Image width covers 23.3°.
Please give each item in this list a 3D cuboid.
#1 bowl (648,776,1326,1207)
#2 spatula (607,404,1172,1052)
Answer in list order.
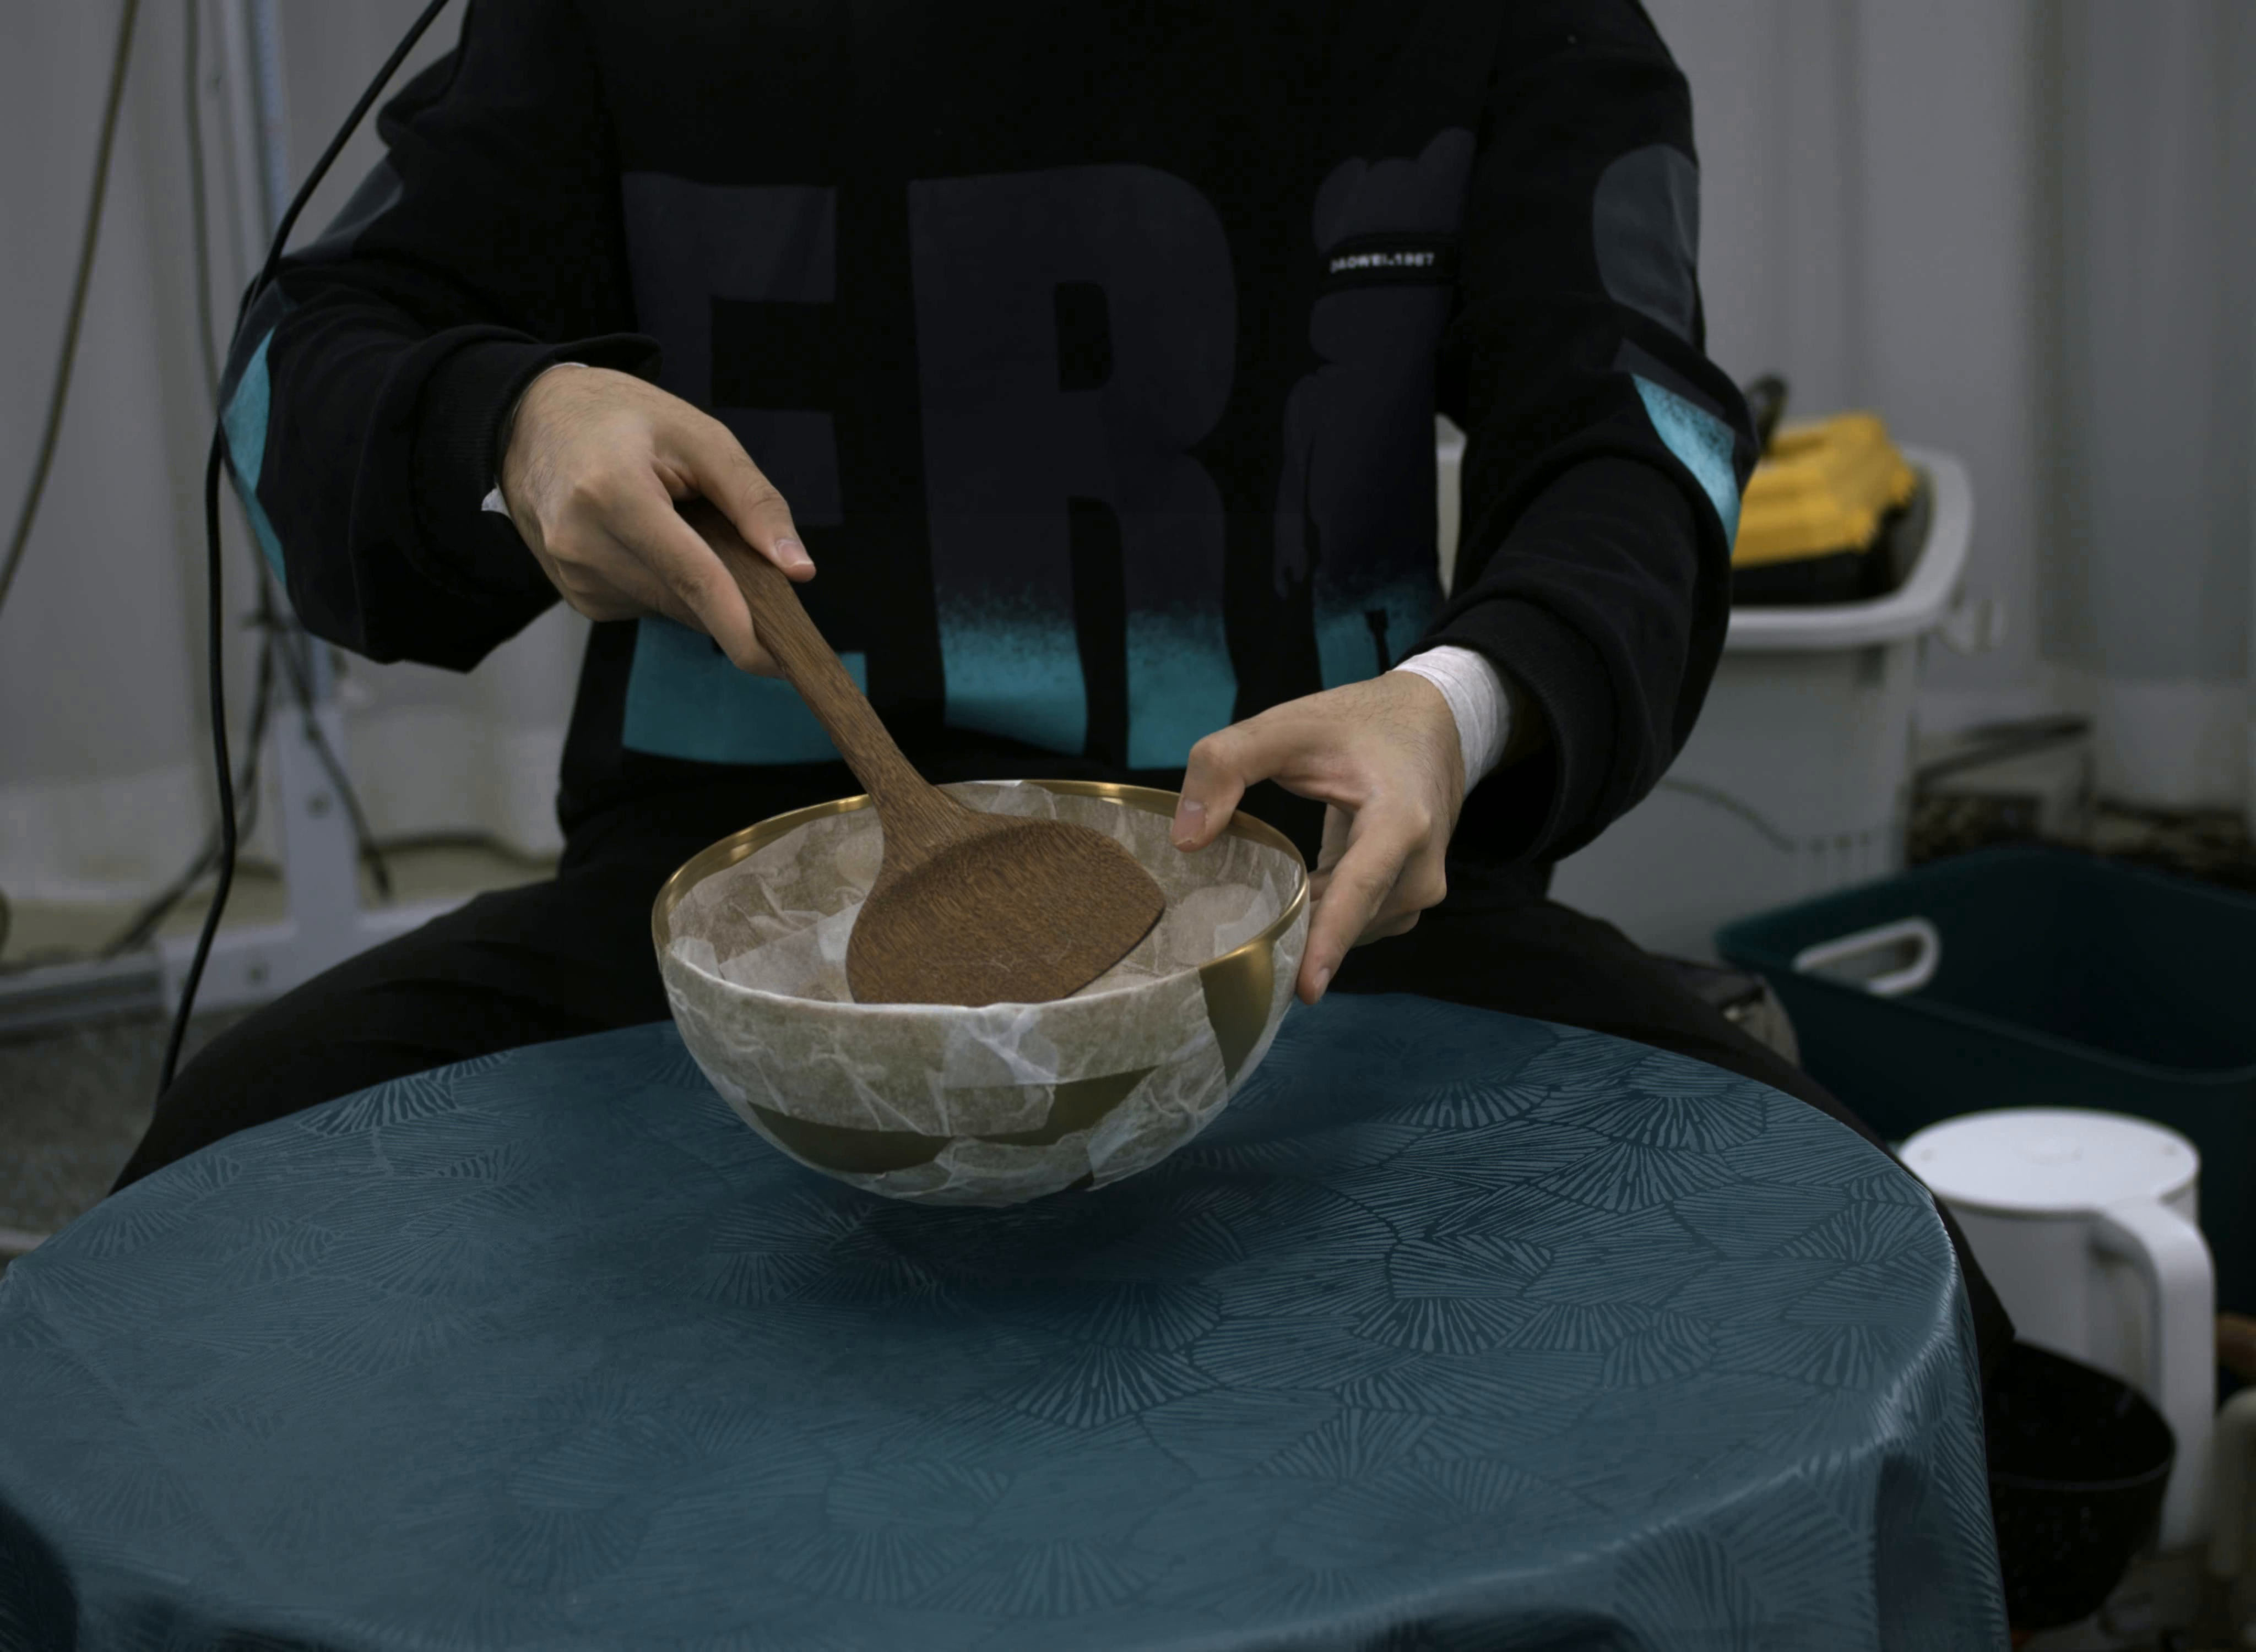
[{"bbox_3d":[-0.040,0.060,1.668,0.214,0.094,0.216,-3,18,1],"label":"bowl"},{"bbox_3d":[-0.095,-0.044,1.719,0.096,0.015,0.391,-27,39,-8],"label":"spatula"}]
